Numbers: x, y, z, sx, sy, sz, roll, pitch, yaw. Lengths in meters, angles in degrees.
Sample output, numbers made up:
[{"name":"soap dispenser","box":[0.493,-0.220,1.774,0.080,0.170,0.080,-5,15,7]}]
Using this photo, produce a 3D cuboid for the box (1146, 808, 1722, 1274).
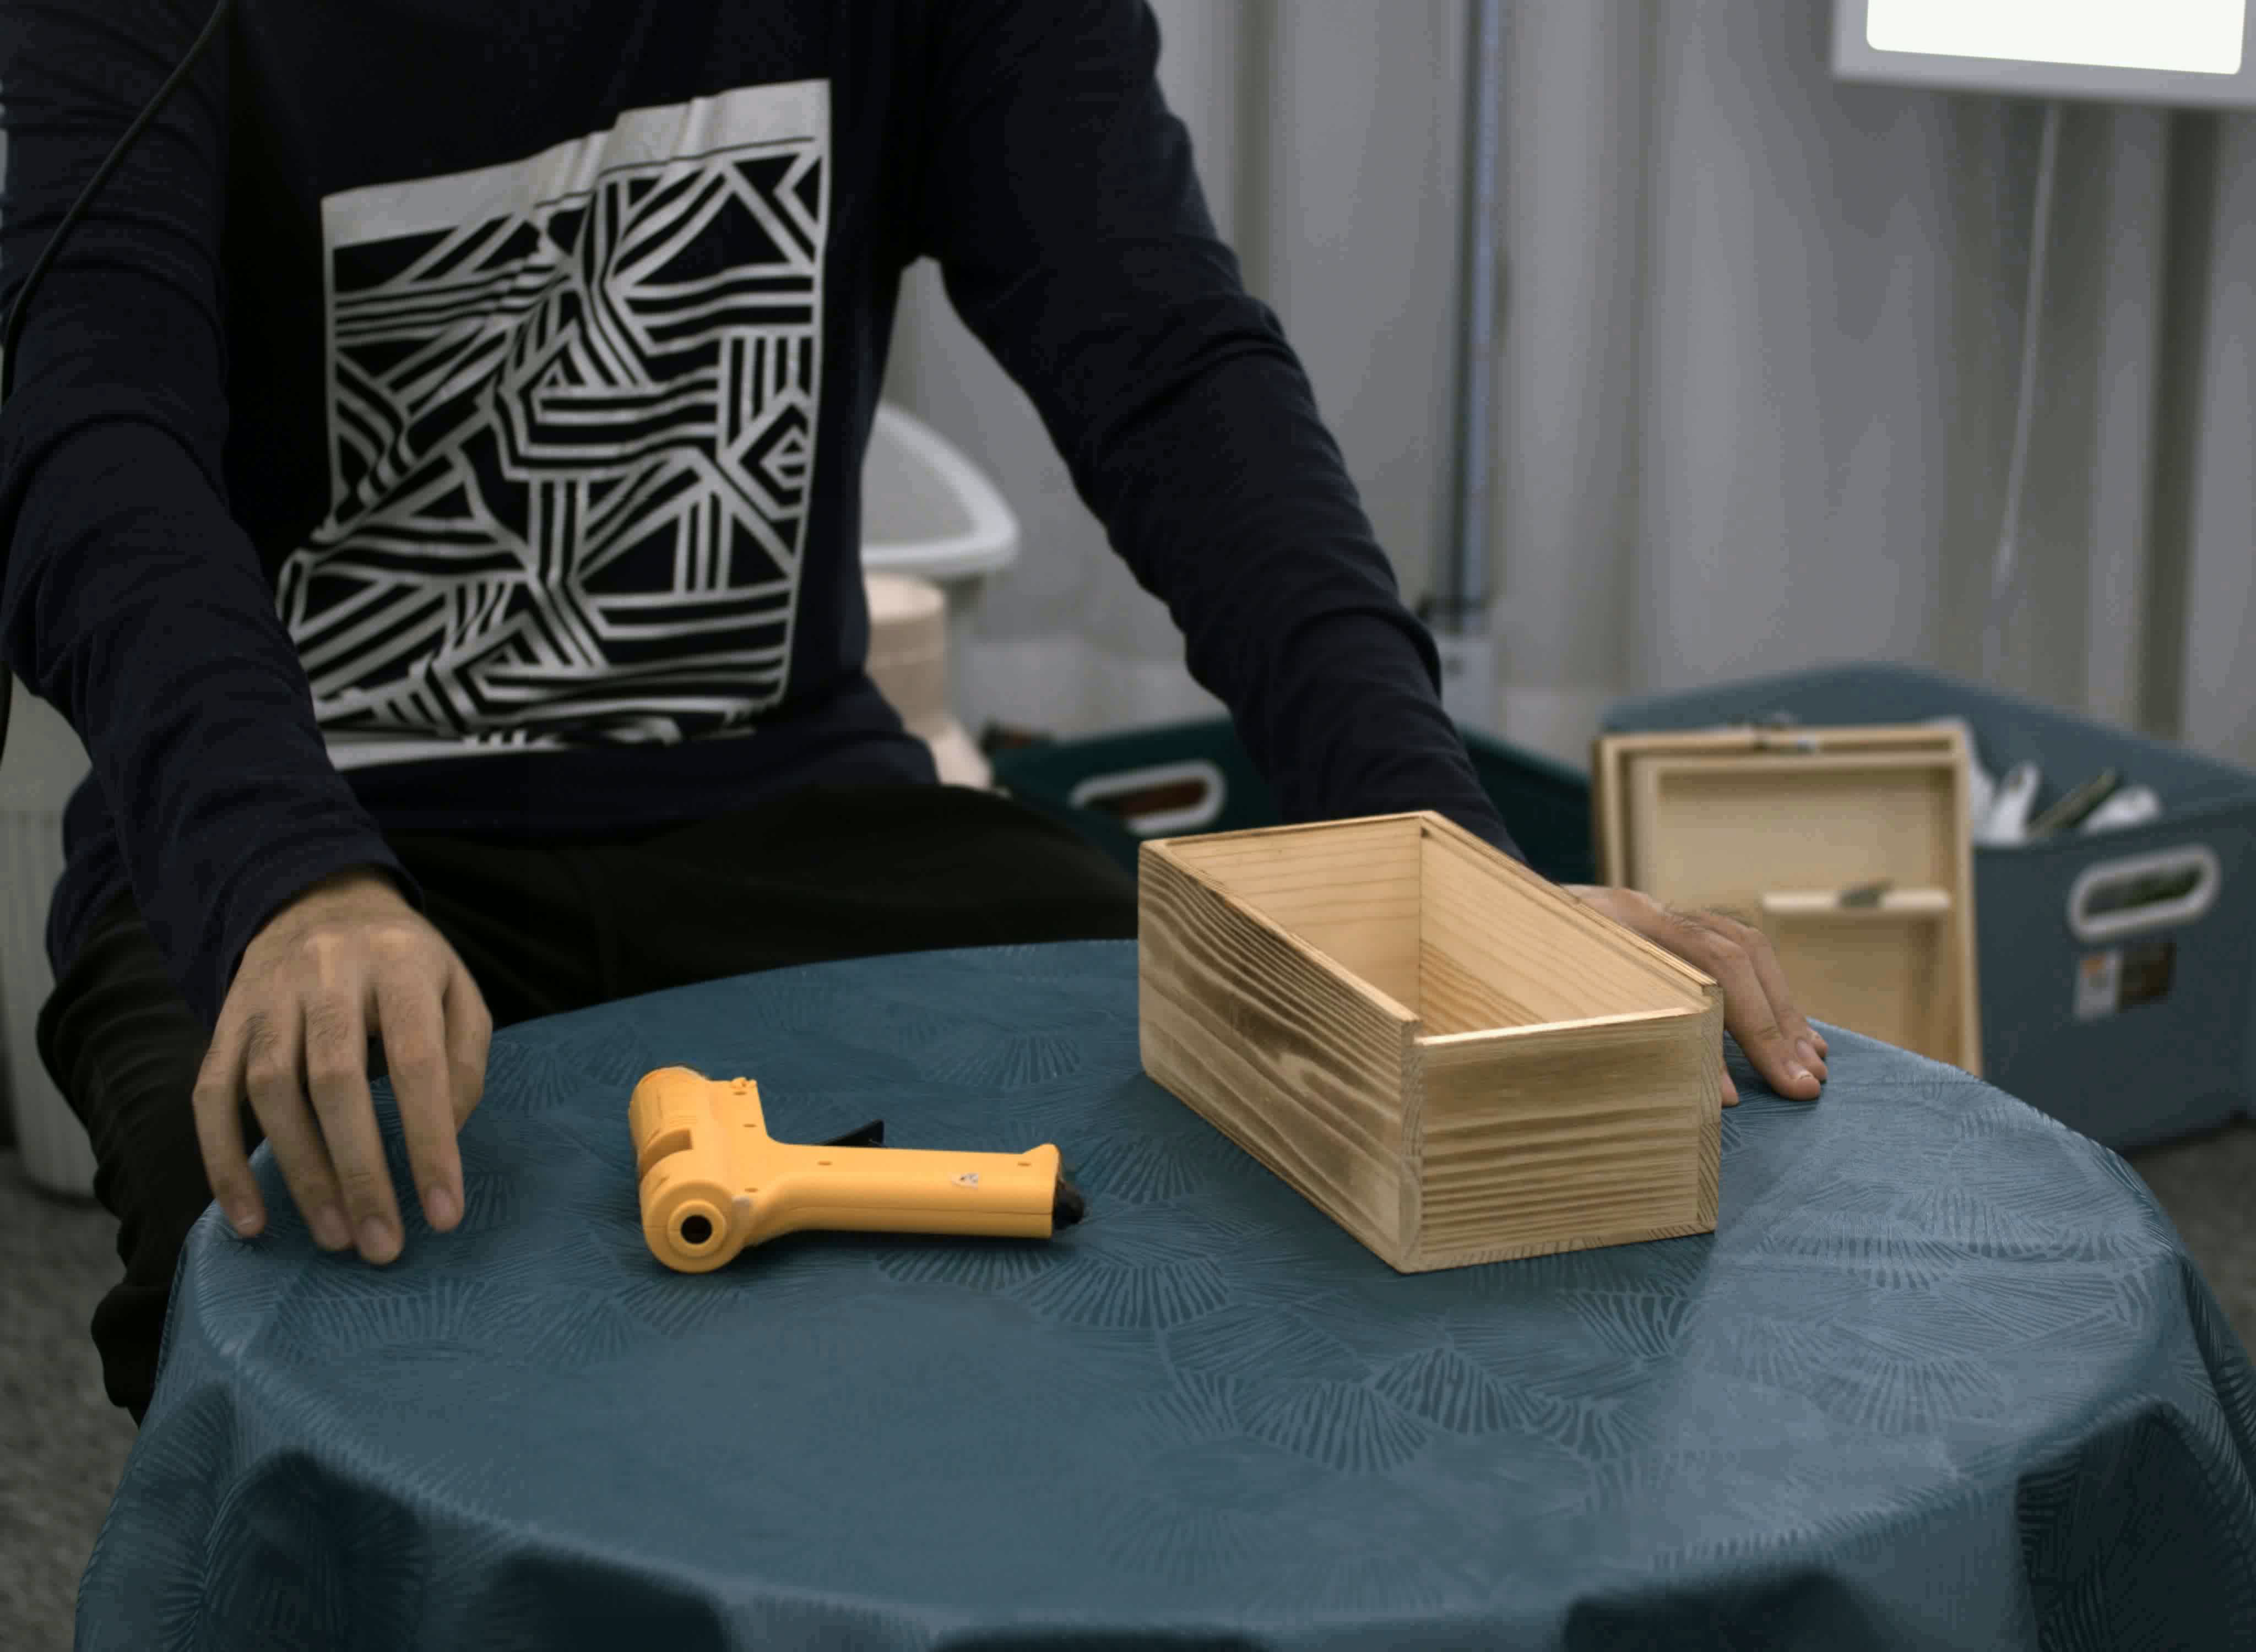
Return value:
[{"name":"box","box":[0.092,0.063,1.659,0.108,0.081,0.209,-5,18,-21]}]

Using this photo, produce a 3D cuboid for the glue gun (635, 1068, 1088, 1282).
[{"name":"glue gun","box":[-0.091,0.099,1.627,0.133,0.031,0.150,-2,17,-13]}]
